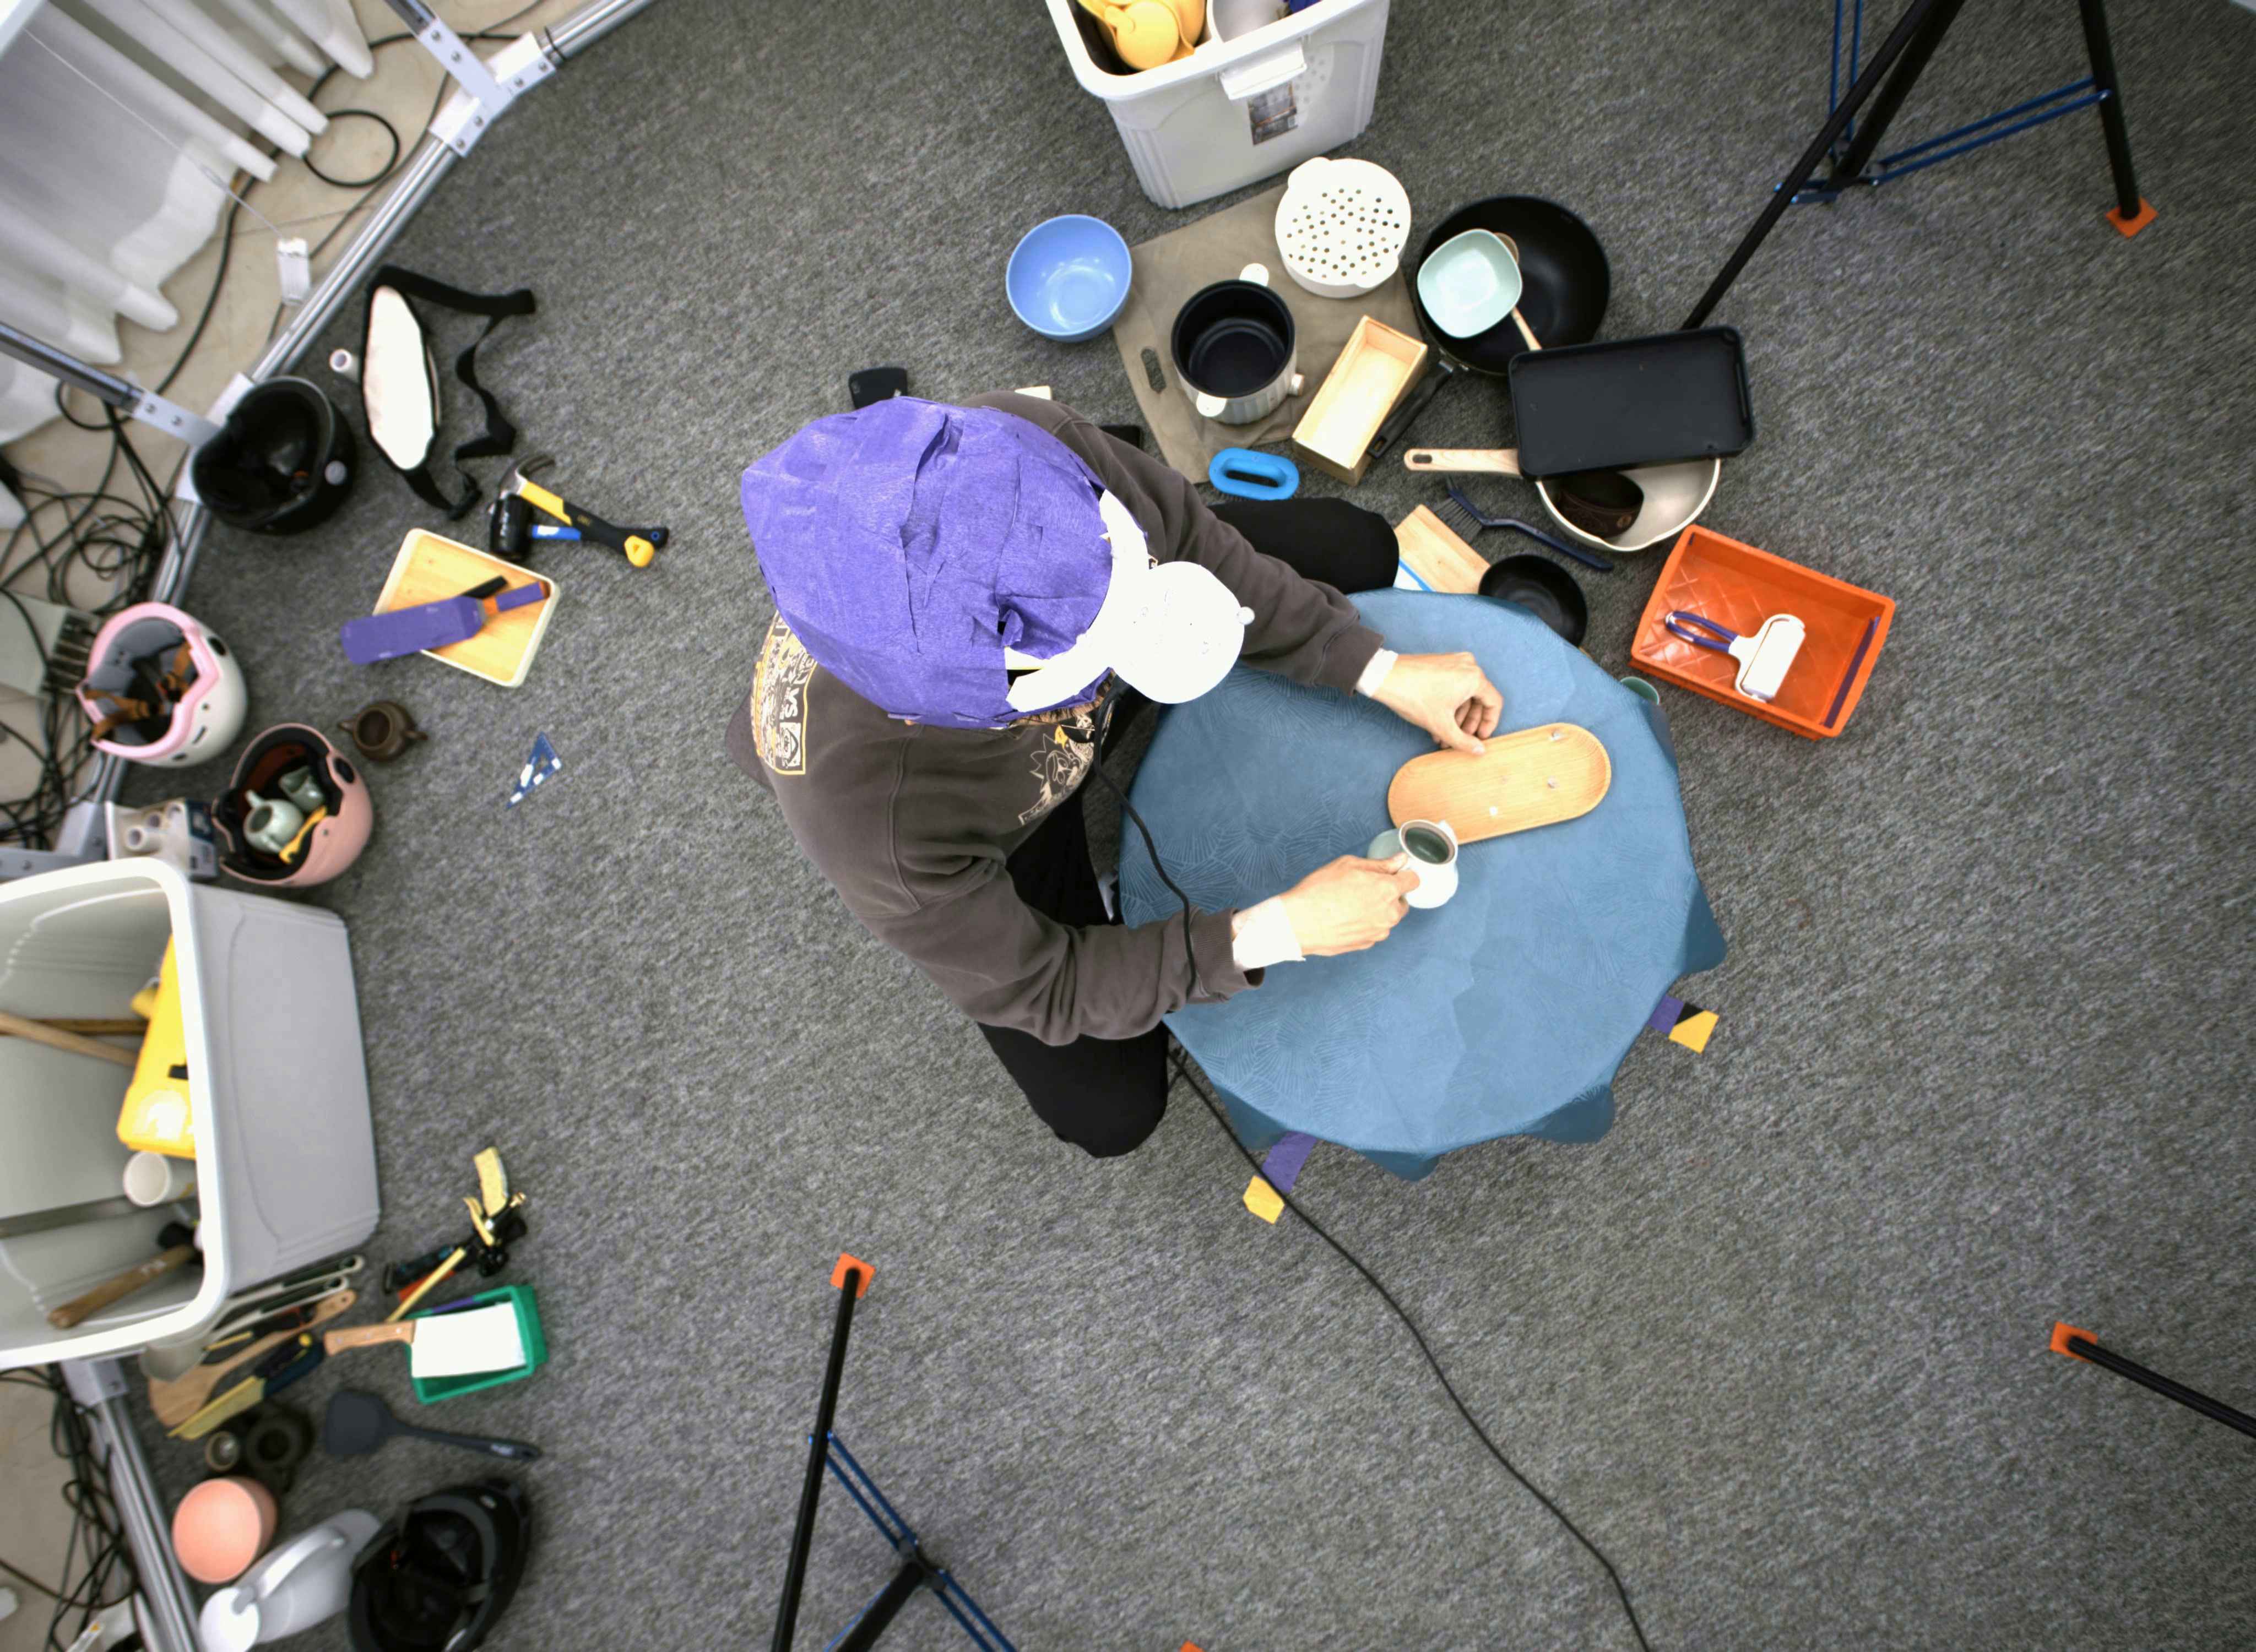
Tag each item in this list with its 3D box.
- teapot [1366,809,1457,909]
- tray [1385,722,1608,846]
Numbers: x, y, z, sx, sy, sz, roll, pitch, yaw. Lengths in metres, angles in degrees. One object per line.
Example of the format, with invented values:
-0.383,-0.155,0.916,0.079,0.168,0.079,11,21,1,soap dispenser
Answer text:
0.285,0.035,1.372,0.096,0.134,0.063,38,138,13,teapot
0.383,-0.043,1.433,0.232,0.020,0.101,-15,84,11,tray
